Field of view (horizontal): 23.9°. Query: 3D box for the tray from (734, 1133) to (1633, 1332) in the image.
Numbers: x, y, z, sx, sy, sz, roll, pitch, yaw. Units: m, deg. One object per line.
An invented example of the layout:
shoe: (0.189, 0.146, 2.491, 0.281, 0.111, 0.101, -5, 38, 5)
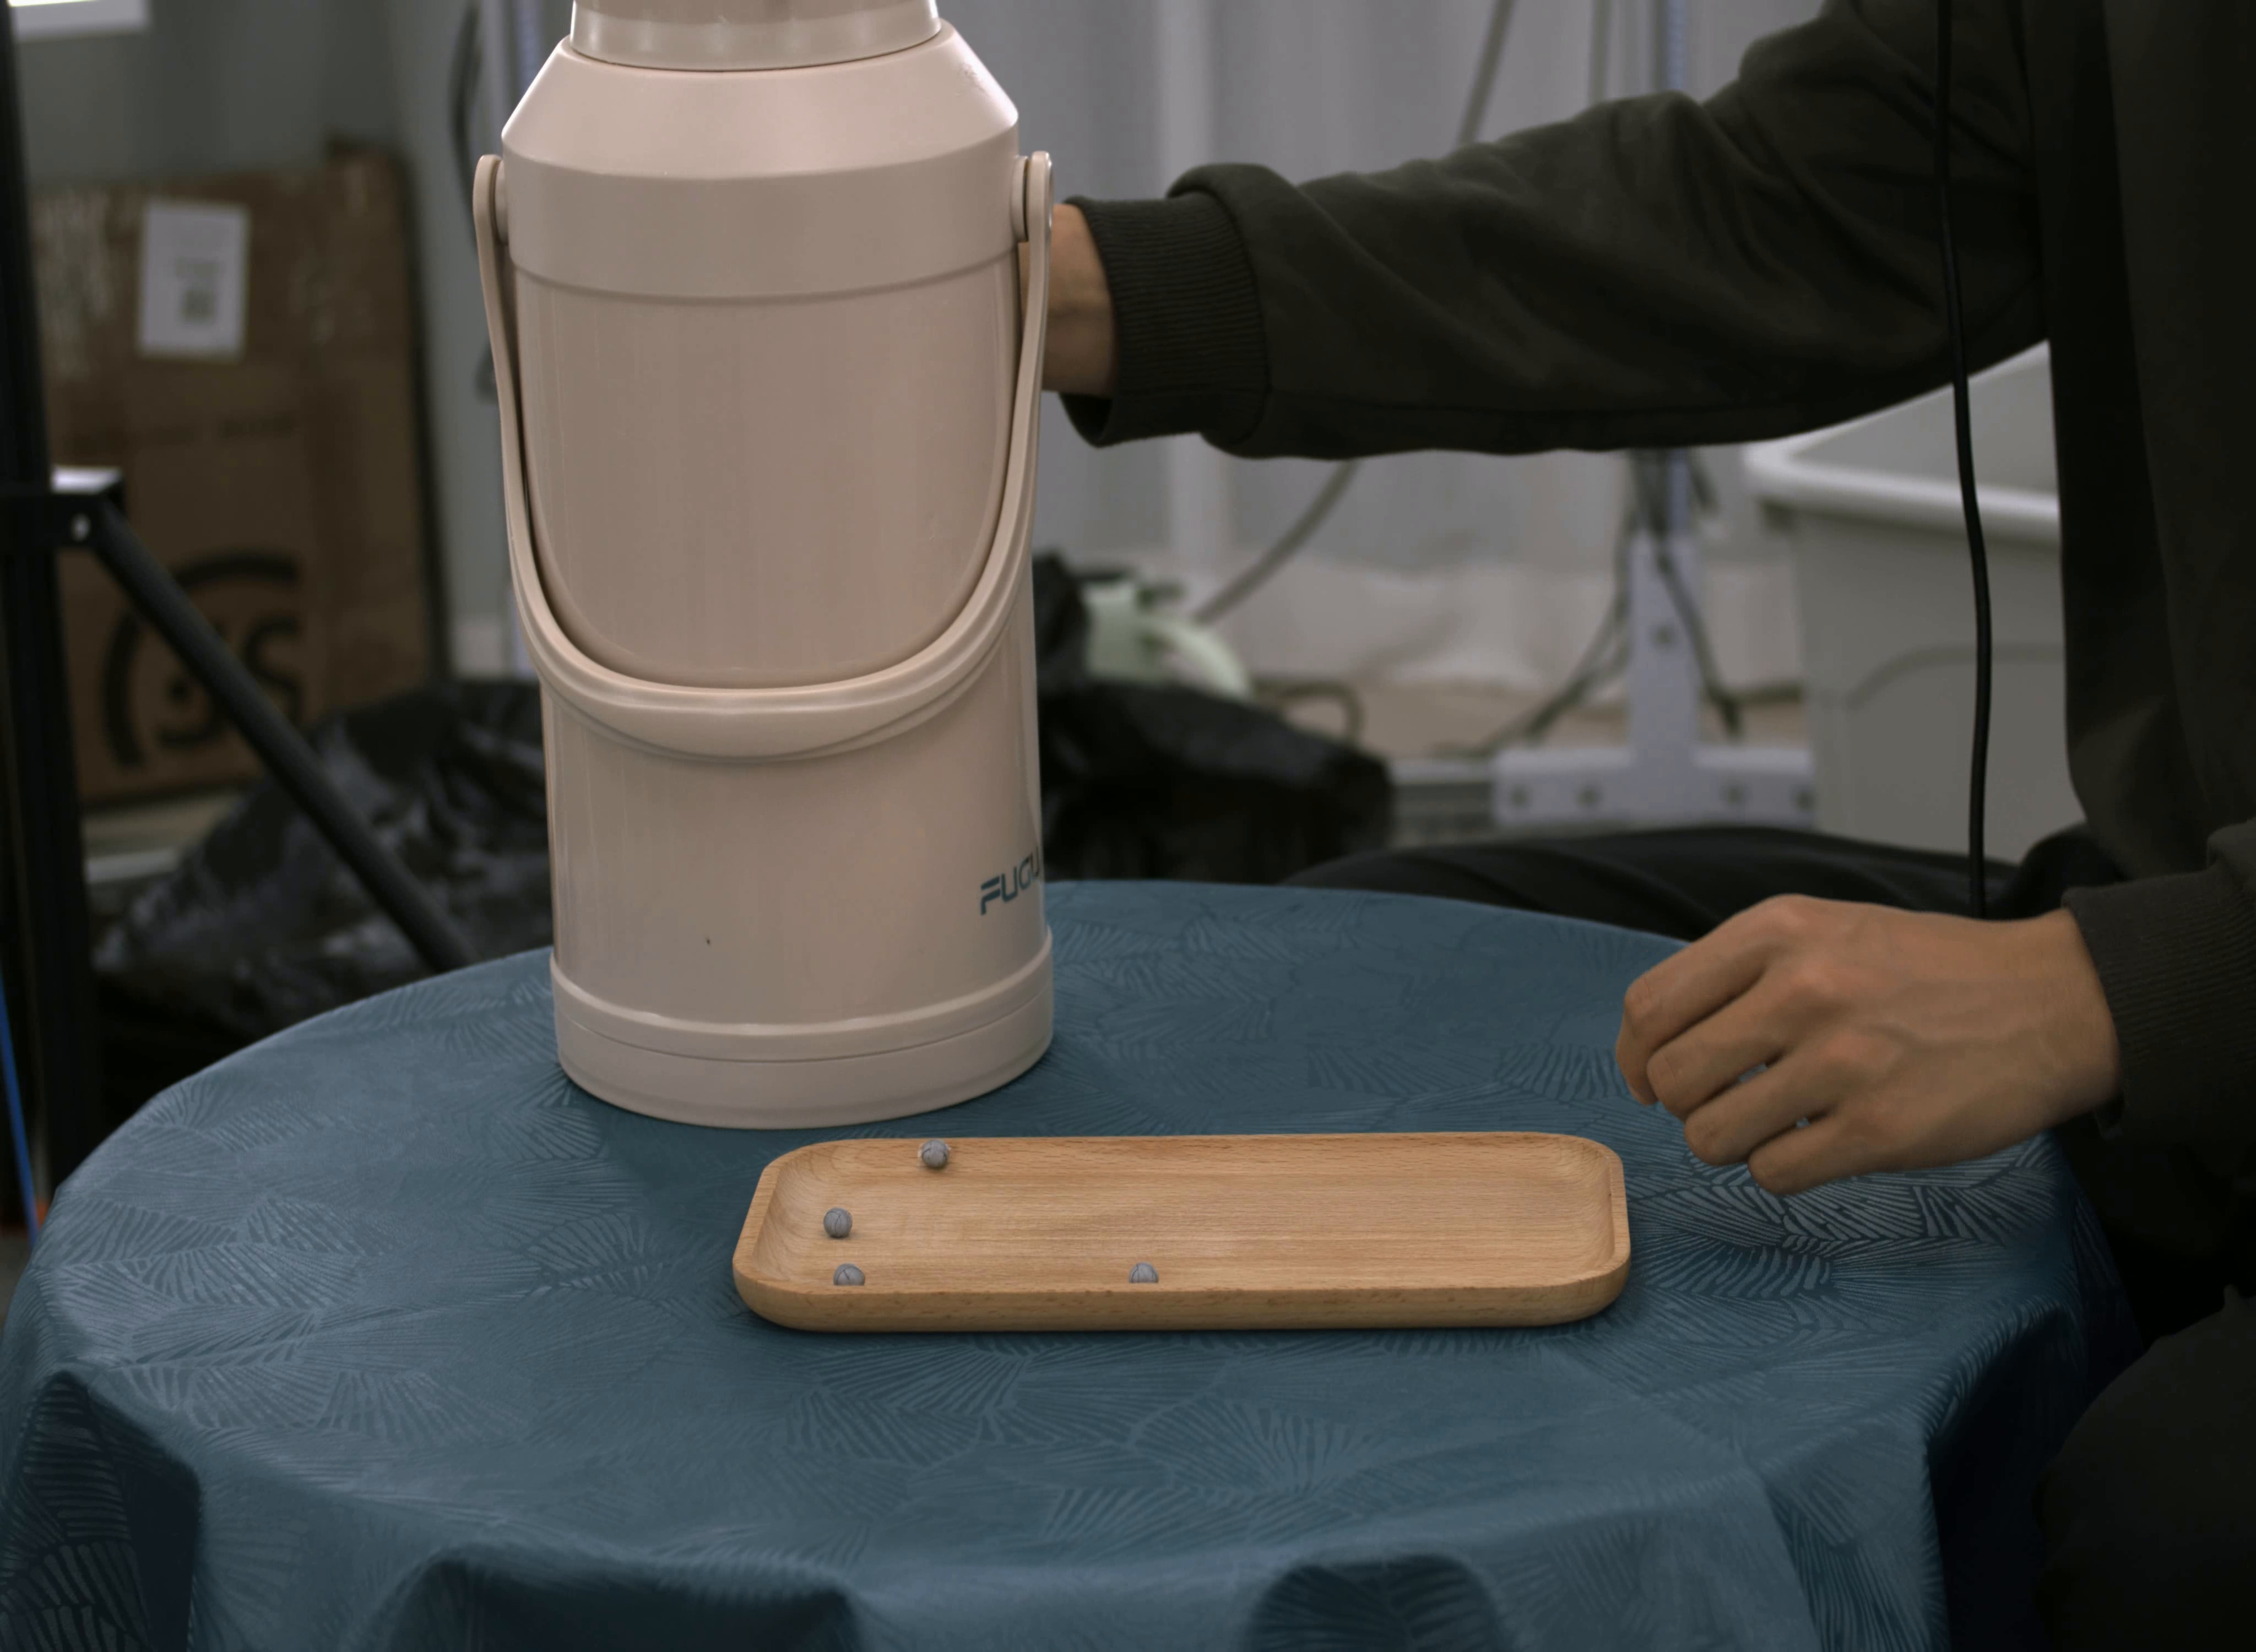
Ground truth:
tray: (0.017, 0.115, 1.503, 0.251, 0.023, 0.130, 0, 18, 6)

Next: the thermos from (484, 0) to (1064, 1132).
thermos: (-0.103, -0.124, 1.657, 0.175, 0.406, 0.207, -1, 17, 7)
